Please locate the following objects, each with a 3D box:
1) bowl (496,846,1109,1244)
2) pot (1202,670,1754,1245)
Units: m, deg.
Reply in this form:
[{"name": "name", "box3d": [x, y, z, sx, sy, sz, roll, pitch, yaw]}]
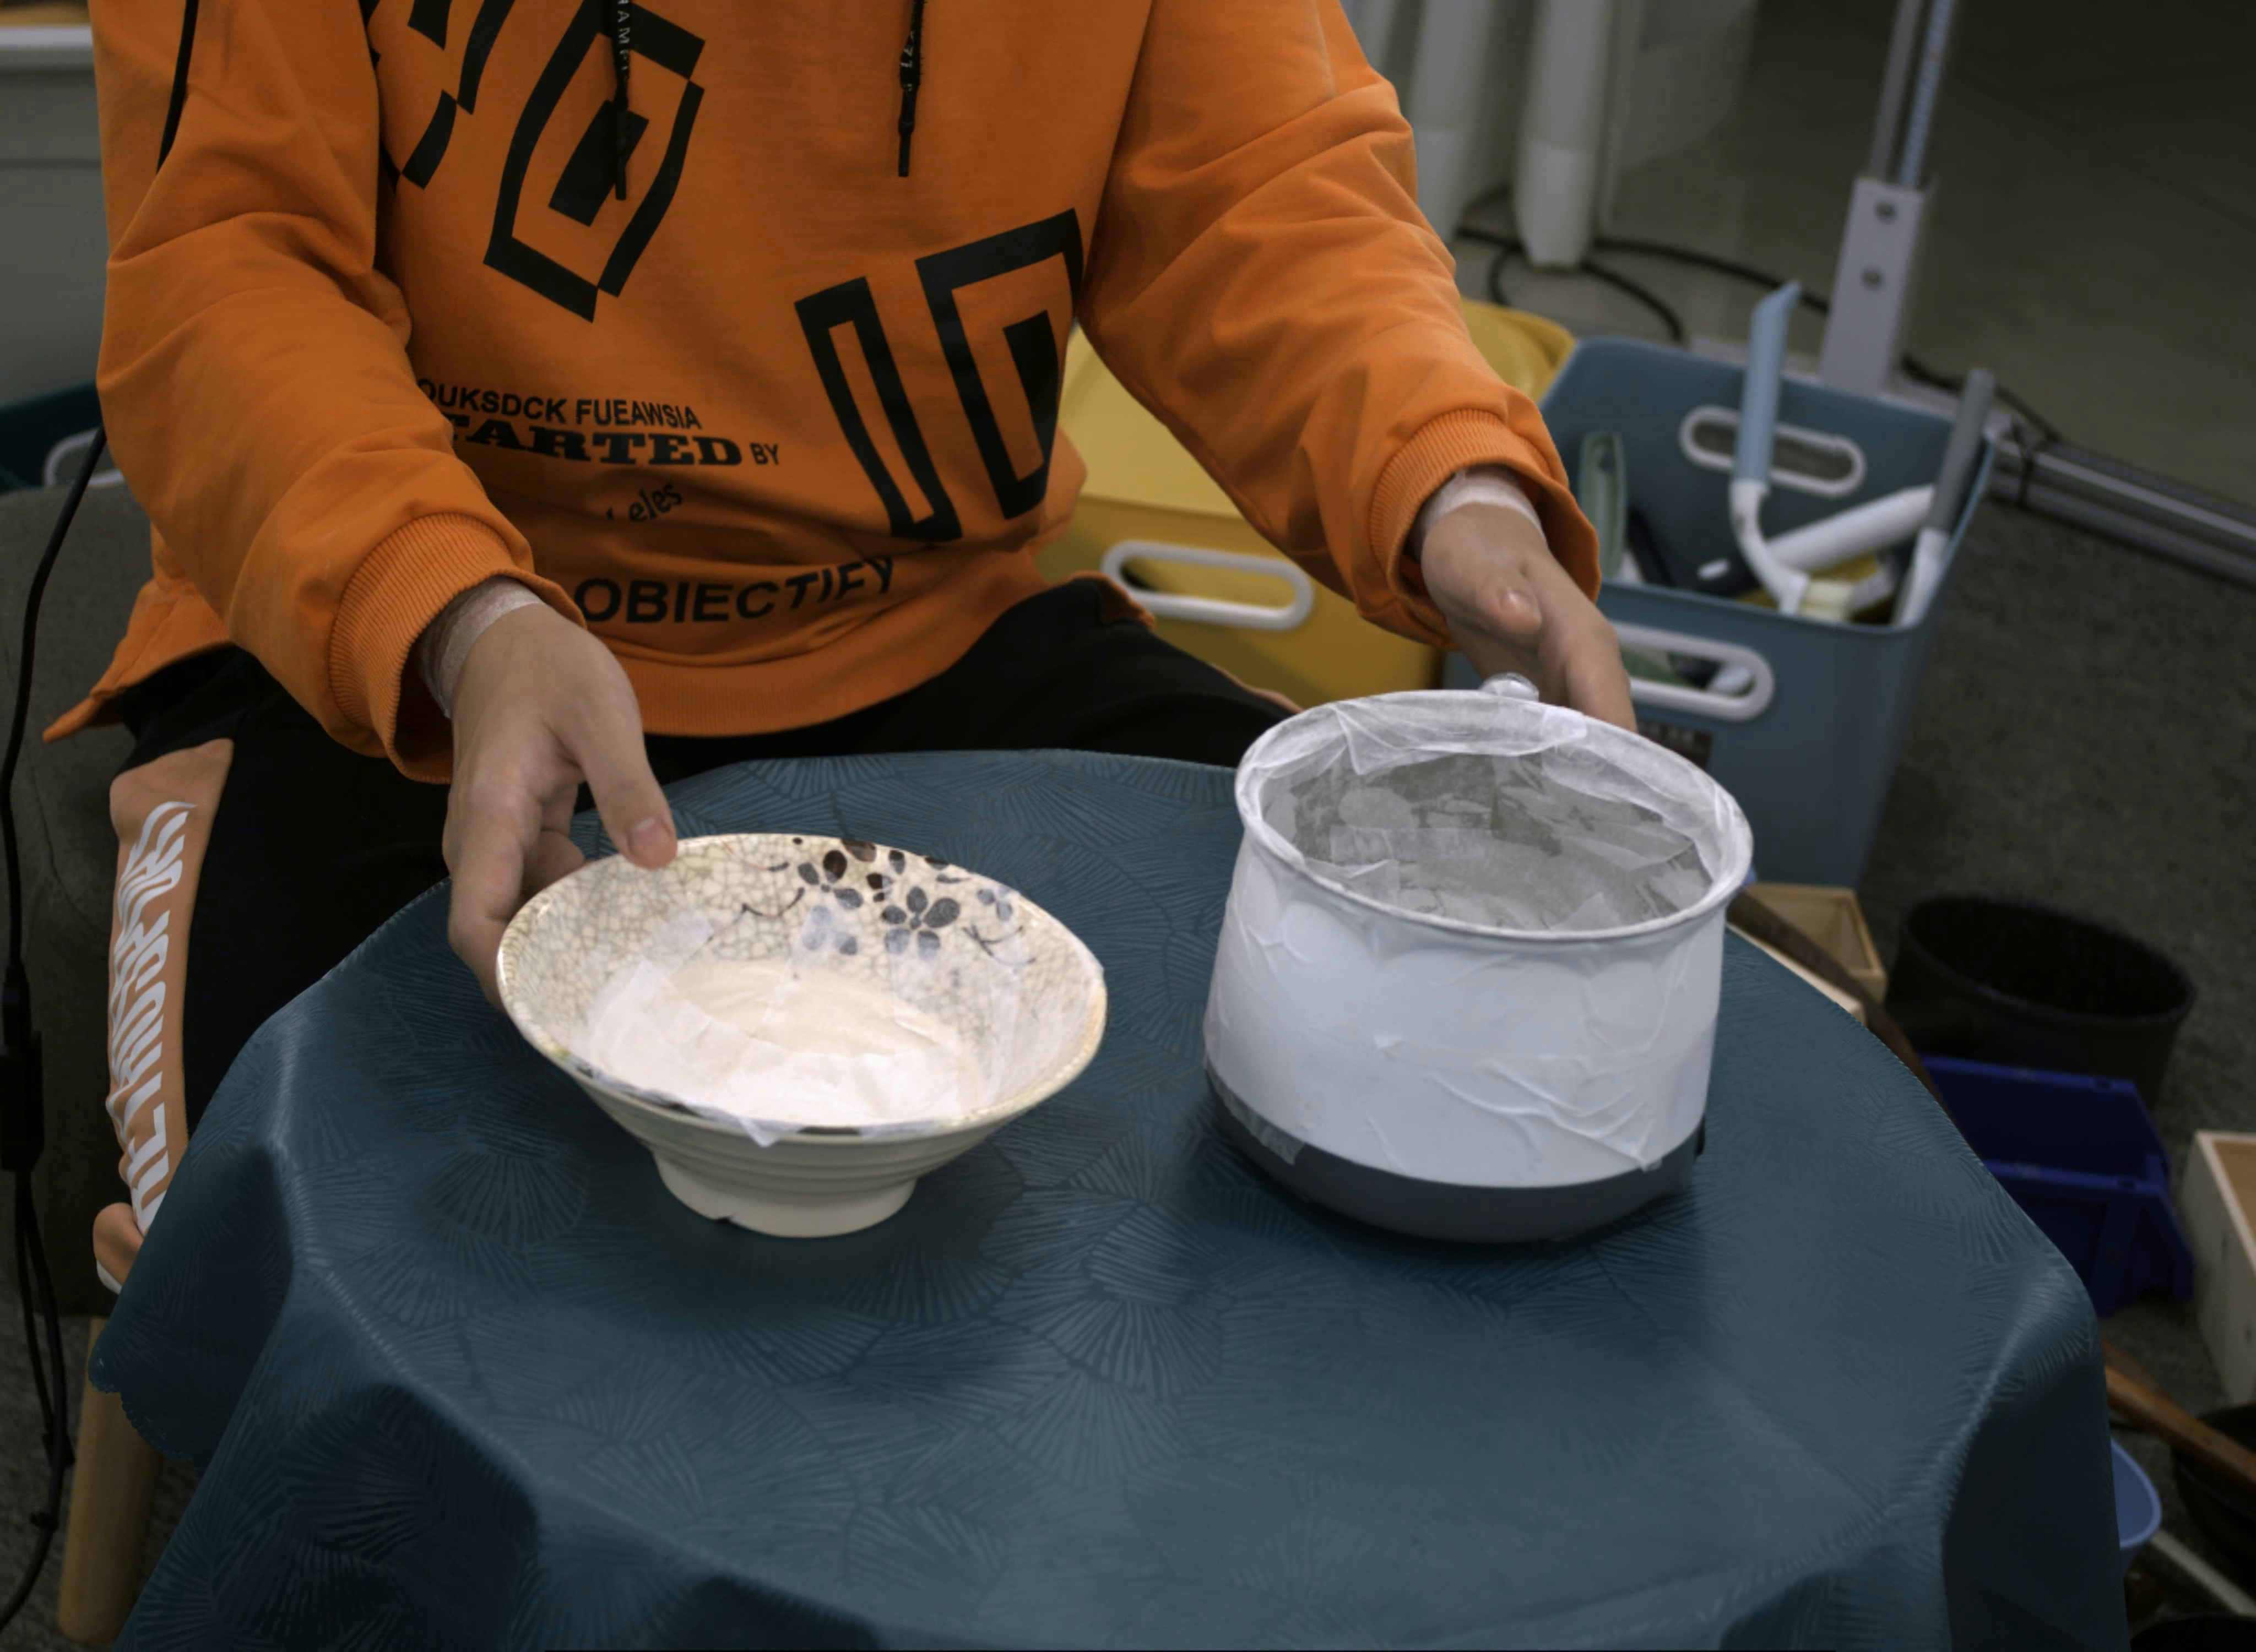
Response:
[{"name": "bowl", "box3d": [-0.110, 0.085, 1.773, 0.203, 0.078, 0.205, 4, 25, -2]}, {"name": "pot", "box3d": [0.119, 0.038, 1.847, 0.178, 0.136, 0.235, 8, 27, 2]}]
